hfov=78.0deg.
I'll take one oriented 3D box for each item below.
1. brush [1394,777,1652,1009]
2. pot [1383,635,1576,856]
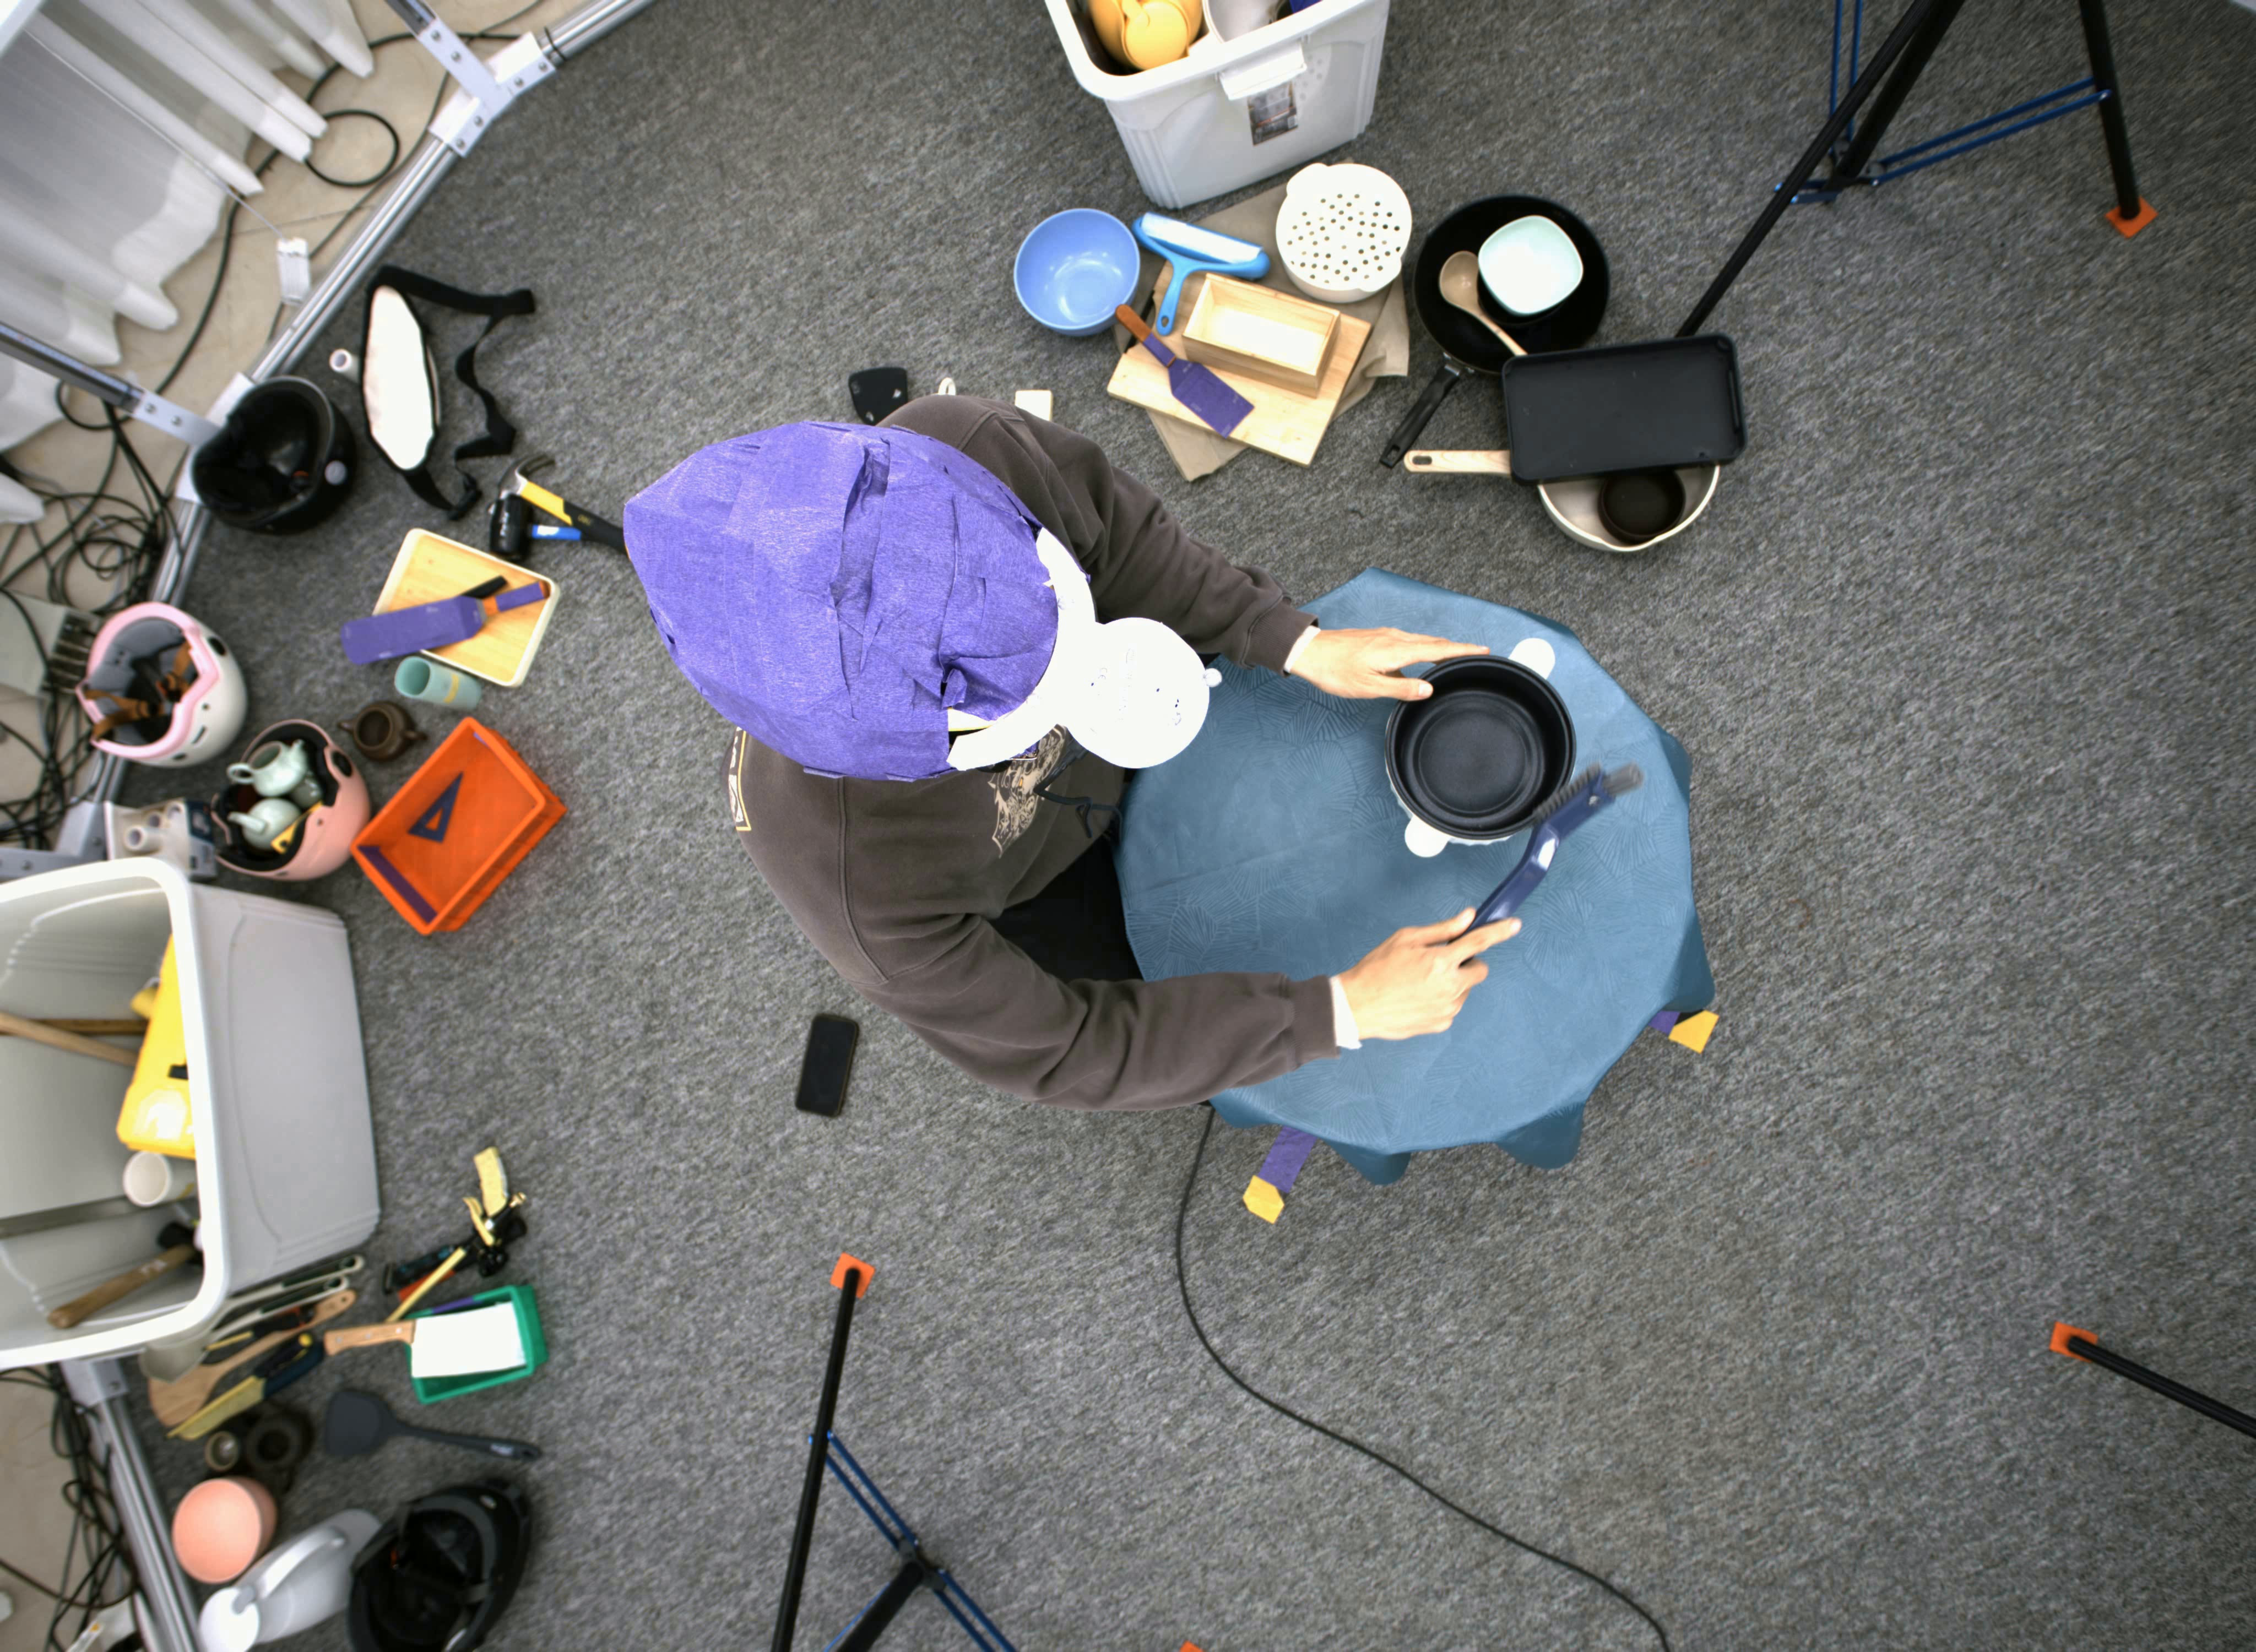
[{"bbox_3d":[0.346,0.059,1.219,0.034,0.095,0.273,39,91,-24],"label":"brush"},{"bbox_3d":[0.354,-0.072,1.378,0.190,0.142,0.241,31,94,14],"label":"pot"}]
